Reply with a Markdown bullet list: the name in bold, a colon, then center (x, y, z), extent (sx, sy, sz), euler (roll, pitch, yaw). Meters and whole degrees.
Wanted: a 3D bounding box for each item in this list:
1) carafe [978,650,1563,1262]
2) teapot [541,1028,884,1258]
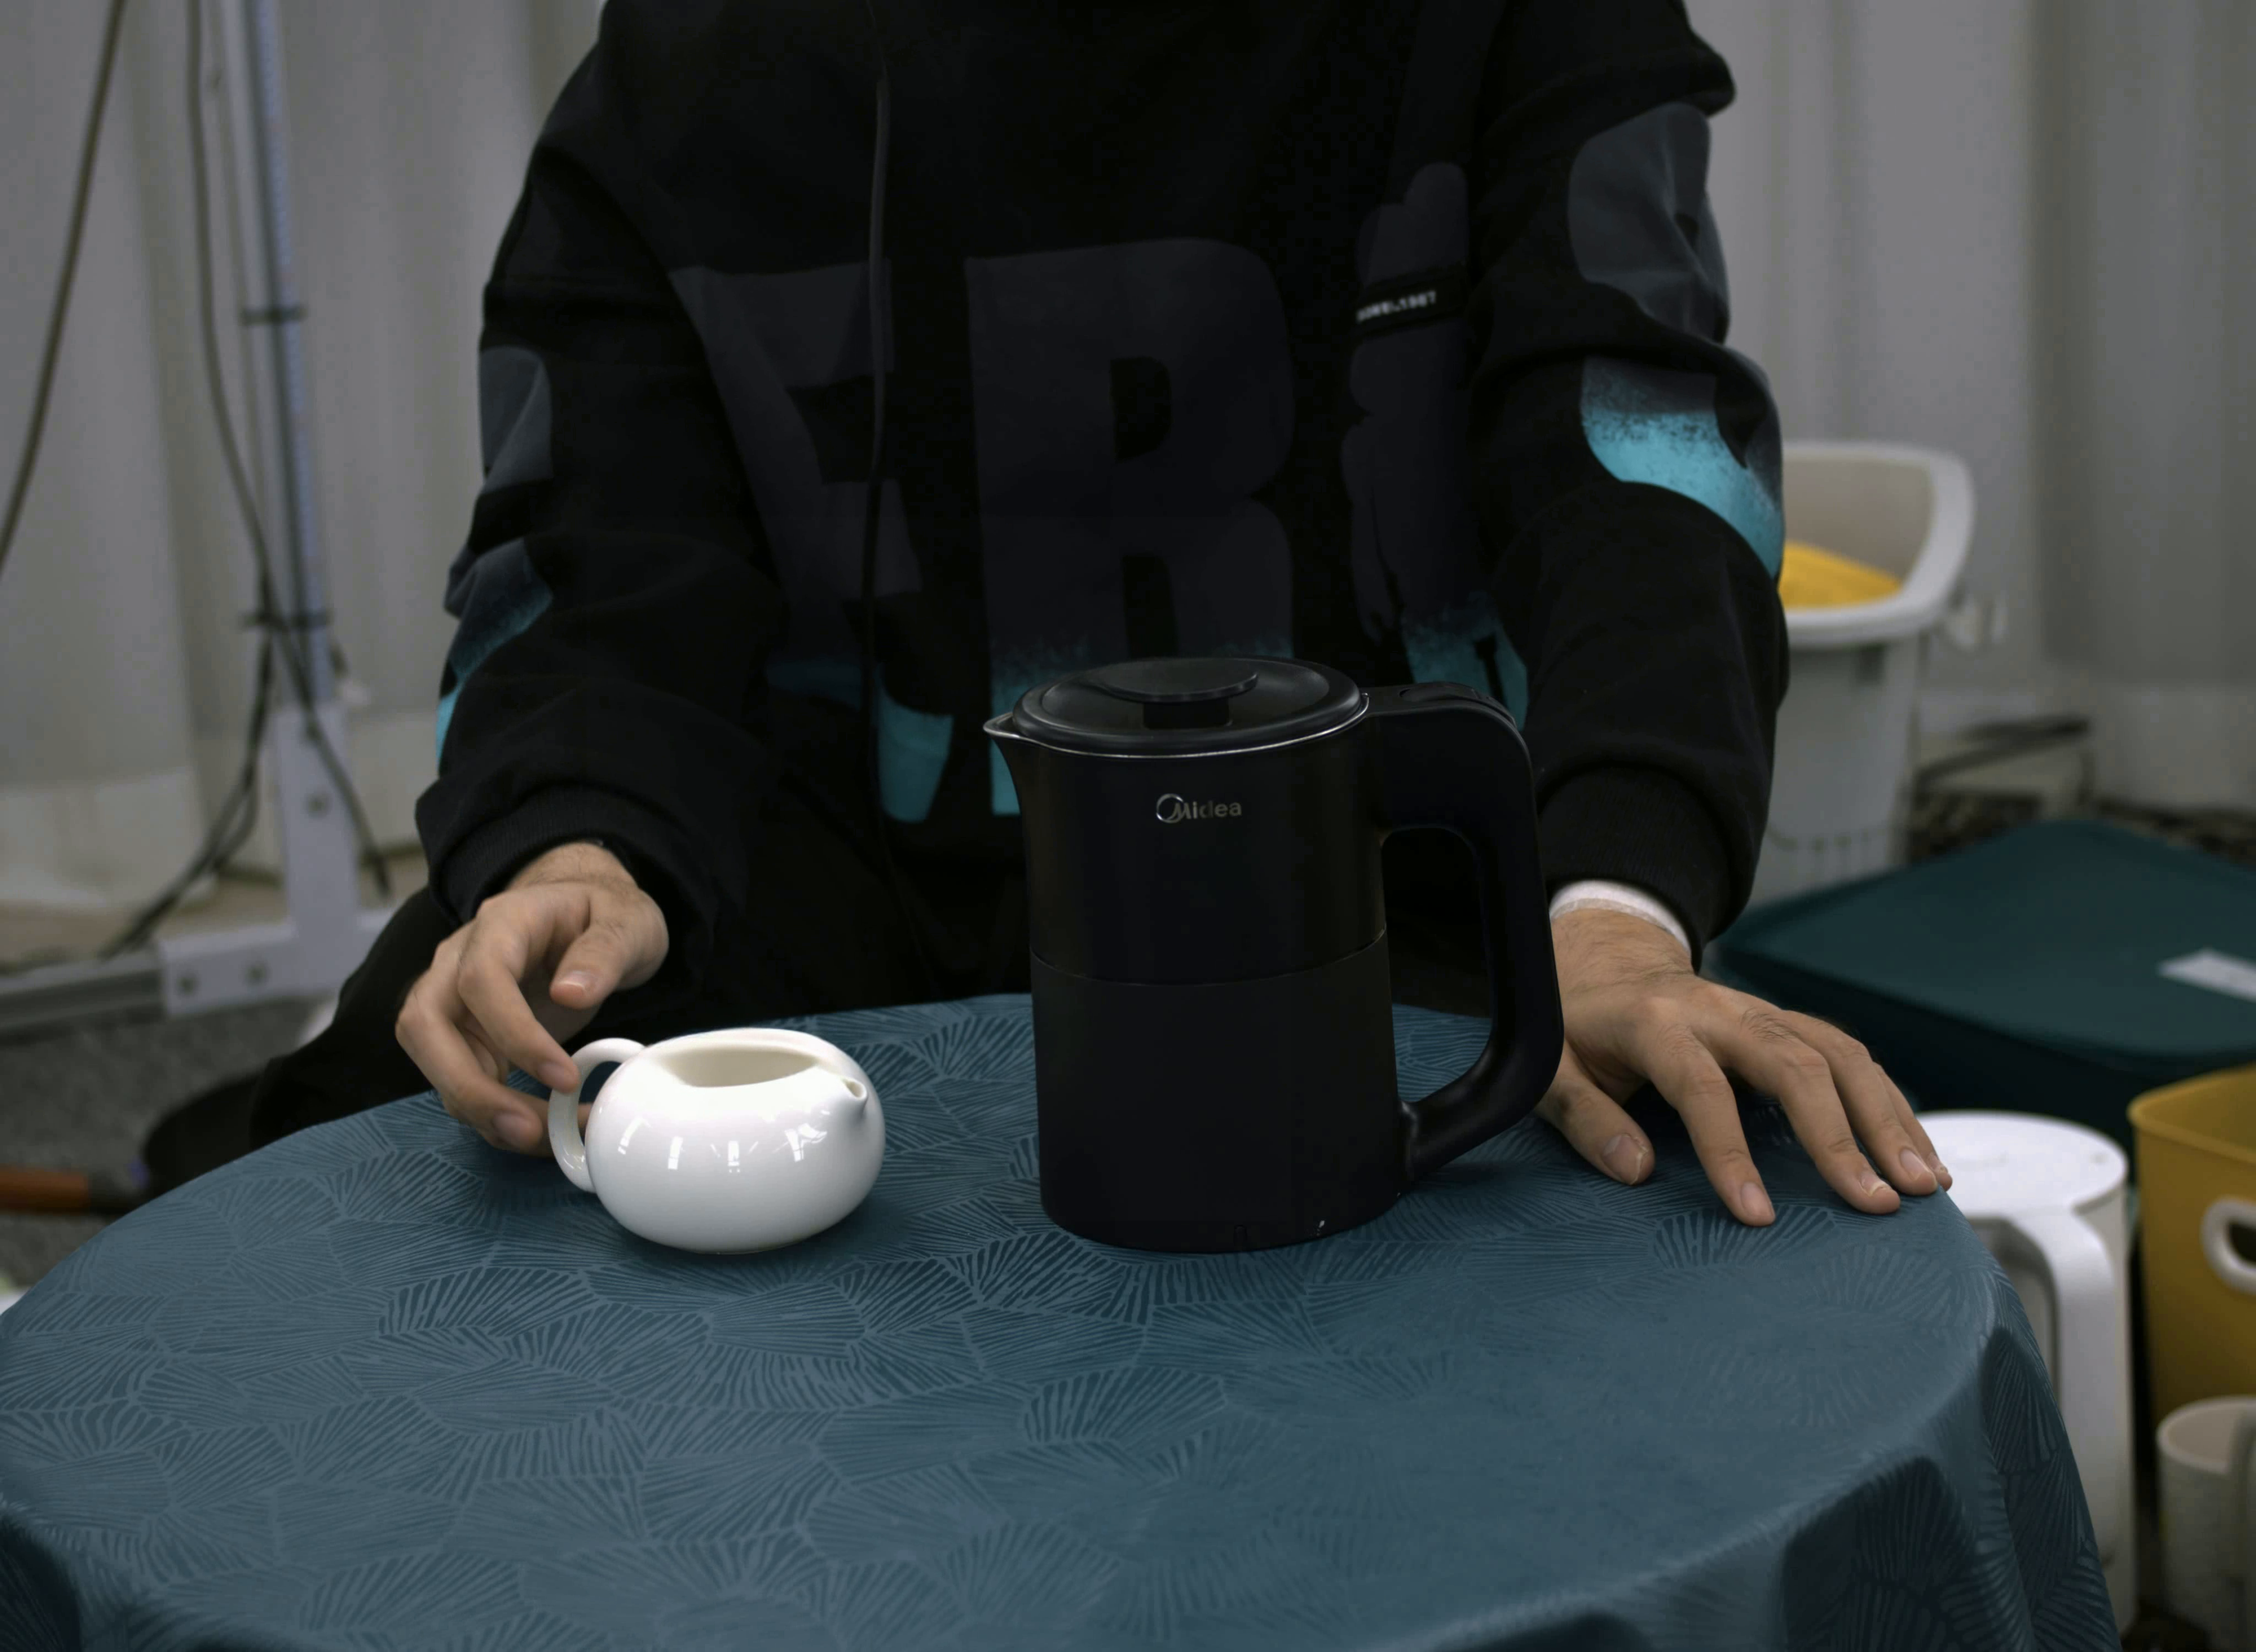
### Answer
- **carafe**: center (0.046, 0.032, 1.688), extent (0.171, 0.173, 0.115), euler (-7, 13, -4)
- **teapot**: center (-0.131, 0.098, 1.701), extent (0.127, 0.056, 0.094), euler (4, 20, 28)
